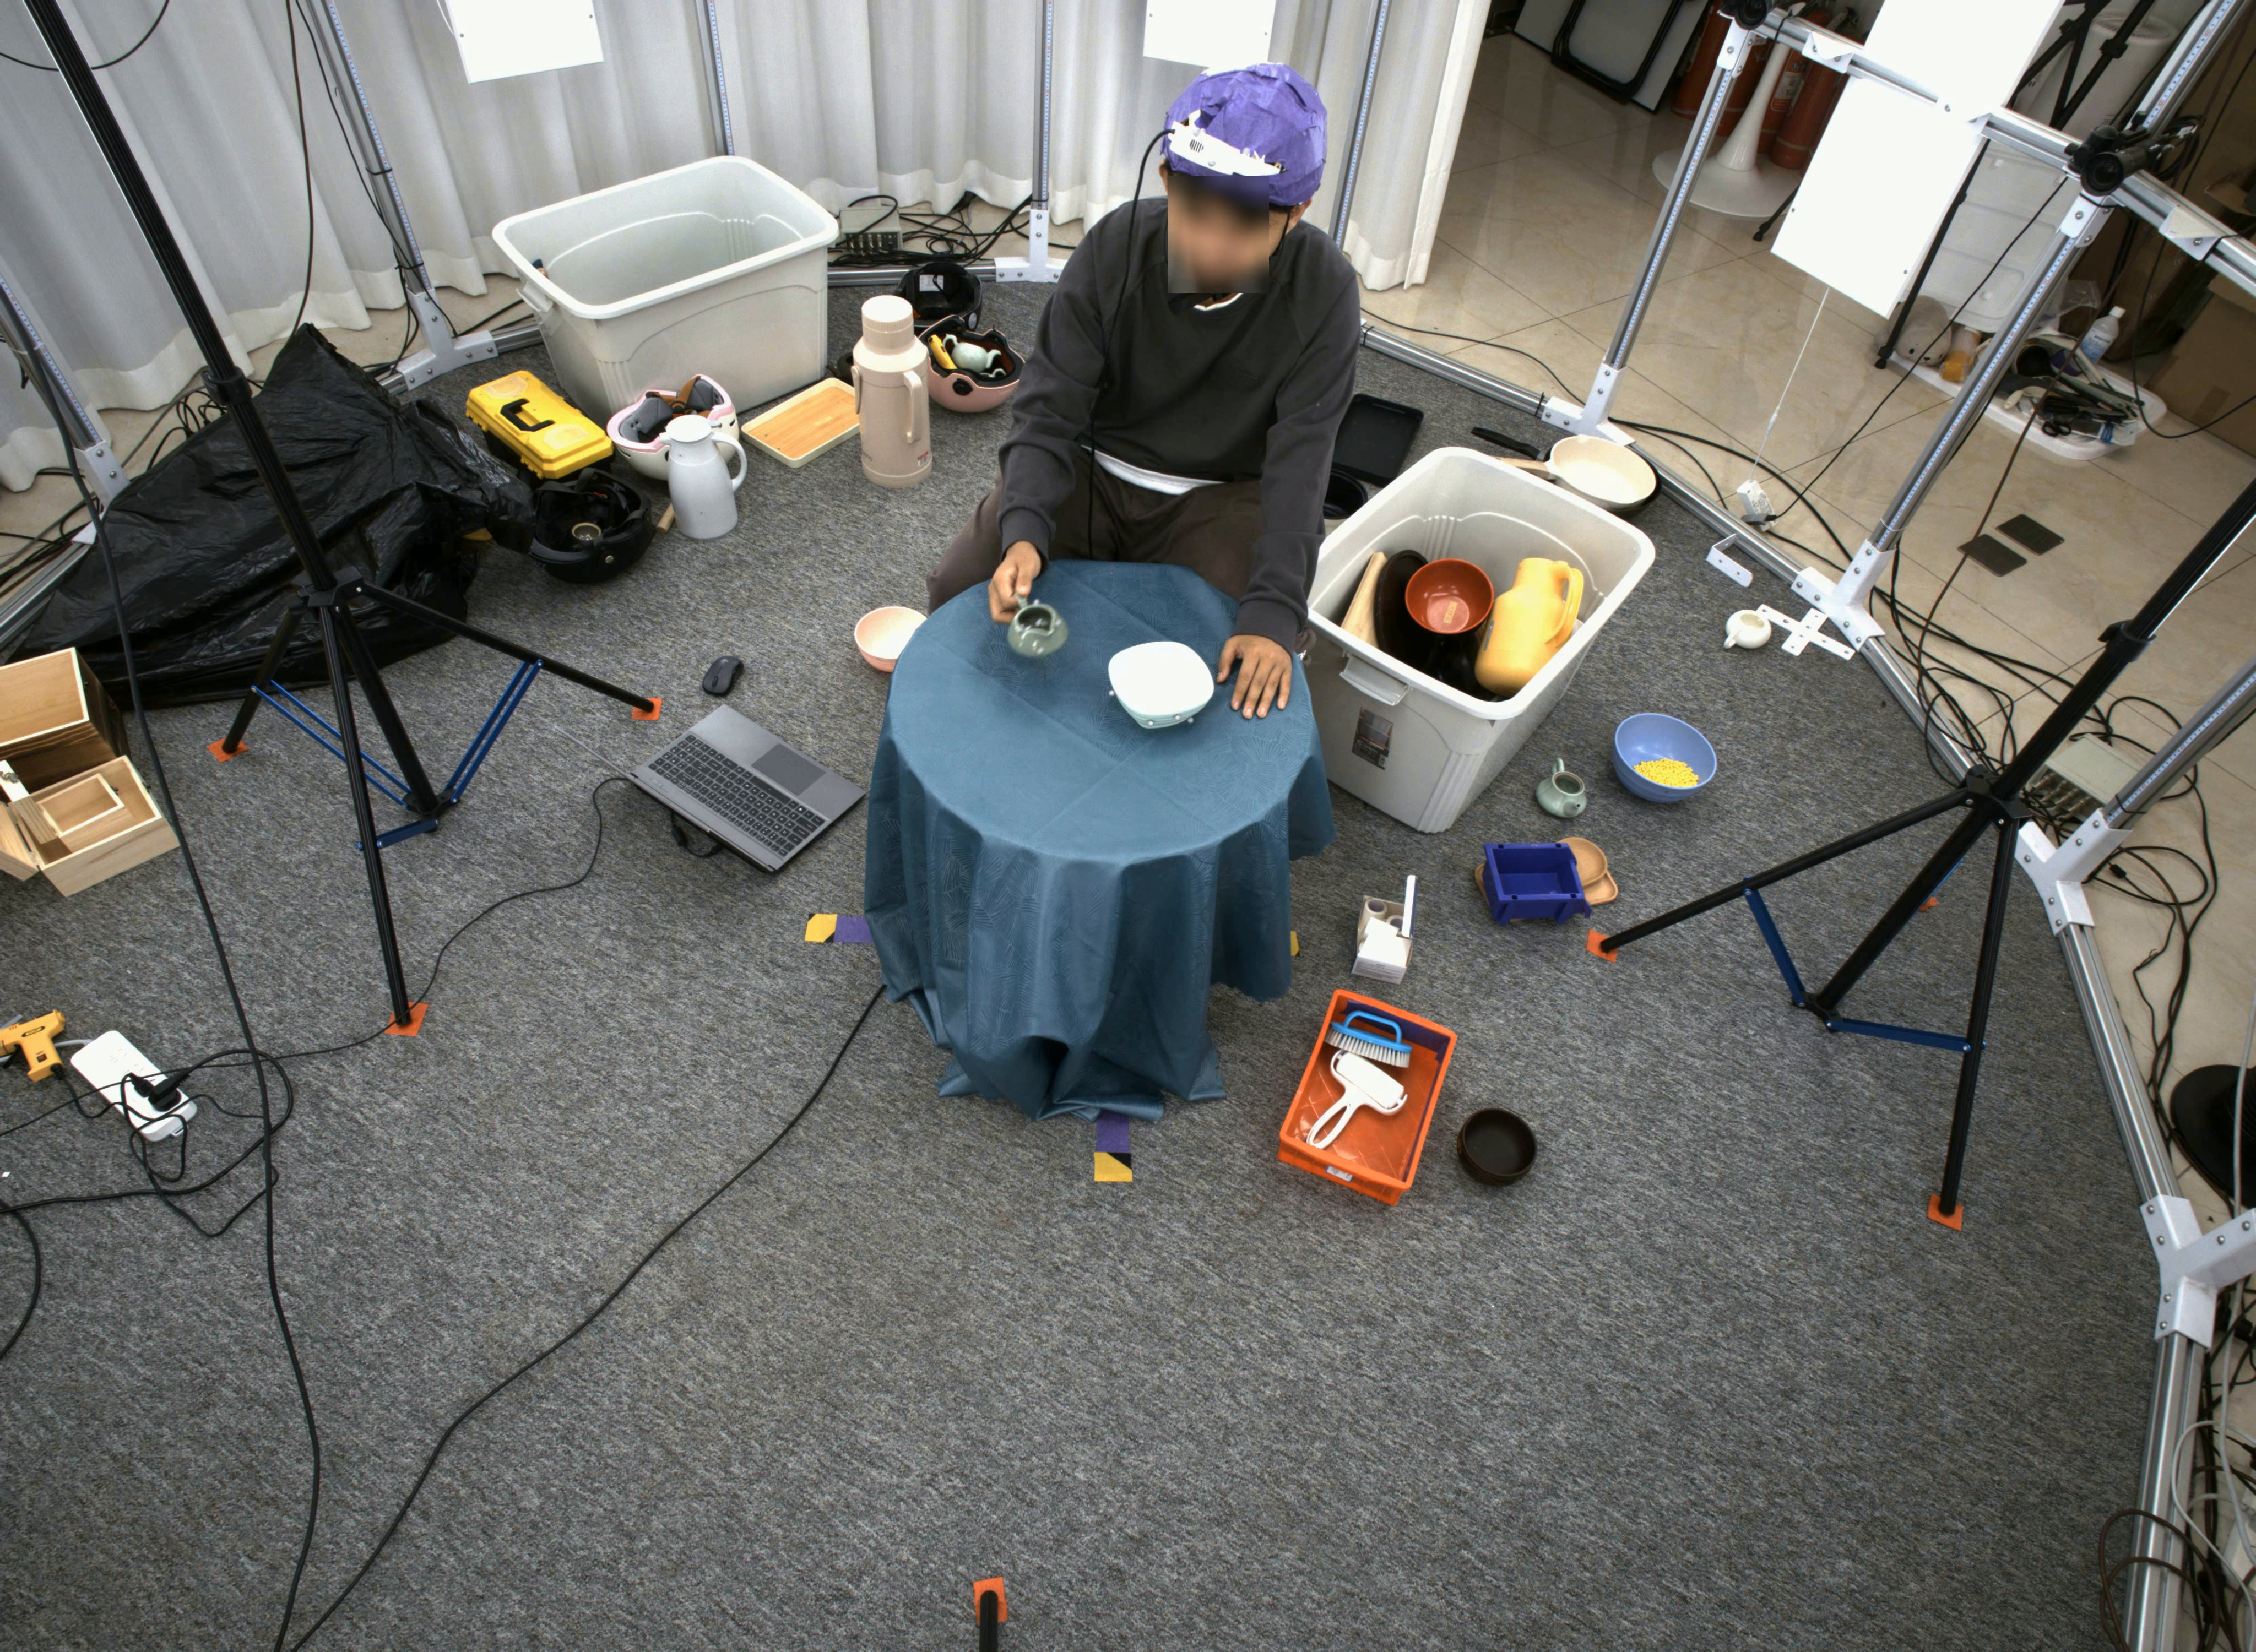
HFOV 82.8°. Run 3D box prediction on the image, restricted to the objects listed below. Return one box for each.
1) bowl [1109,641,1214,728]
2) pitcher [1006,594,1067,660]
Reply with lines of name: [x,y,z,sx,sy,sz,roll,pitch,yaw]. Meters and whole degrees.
bowl: [0.044,-0.190,1.798,0.151,0.057,0.155,2,50,-3]
pitcher: [-0.132,-0.275,1.785,0.084,0.055,0.115,-26,50,-15]
